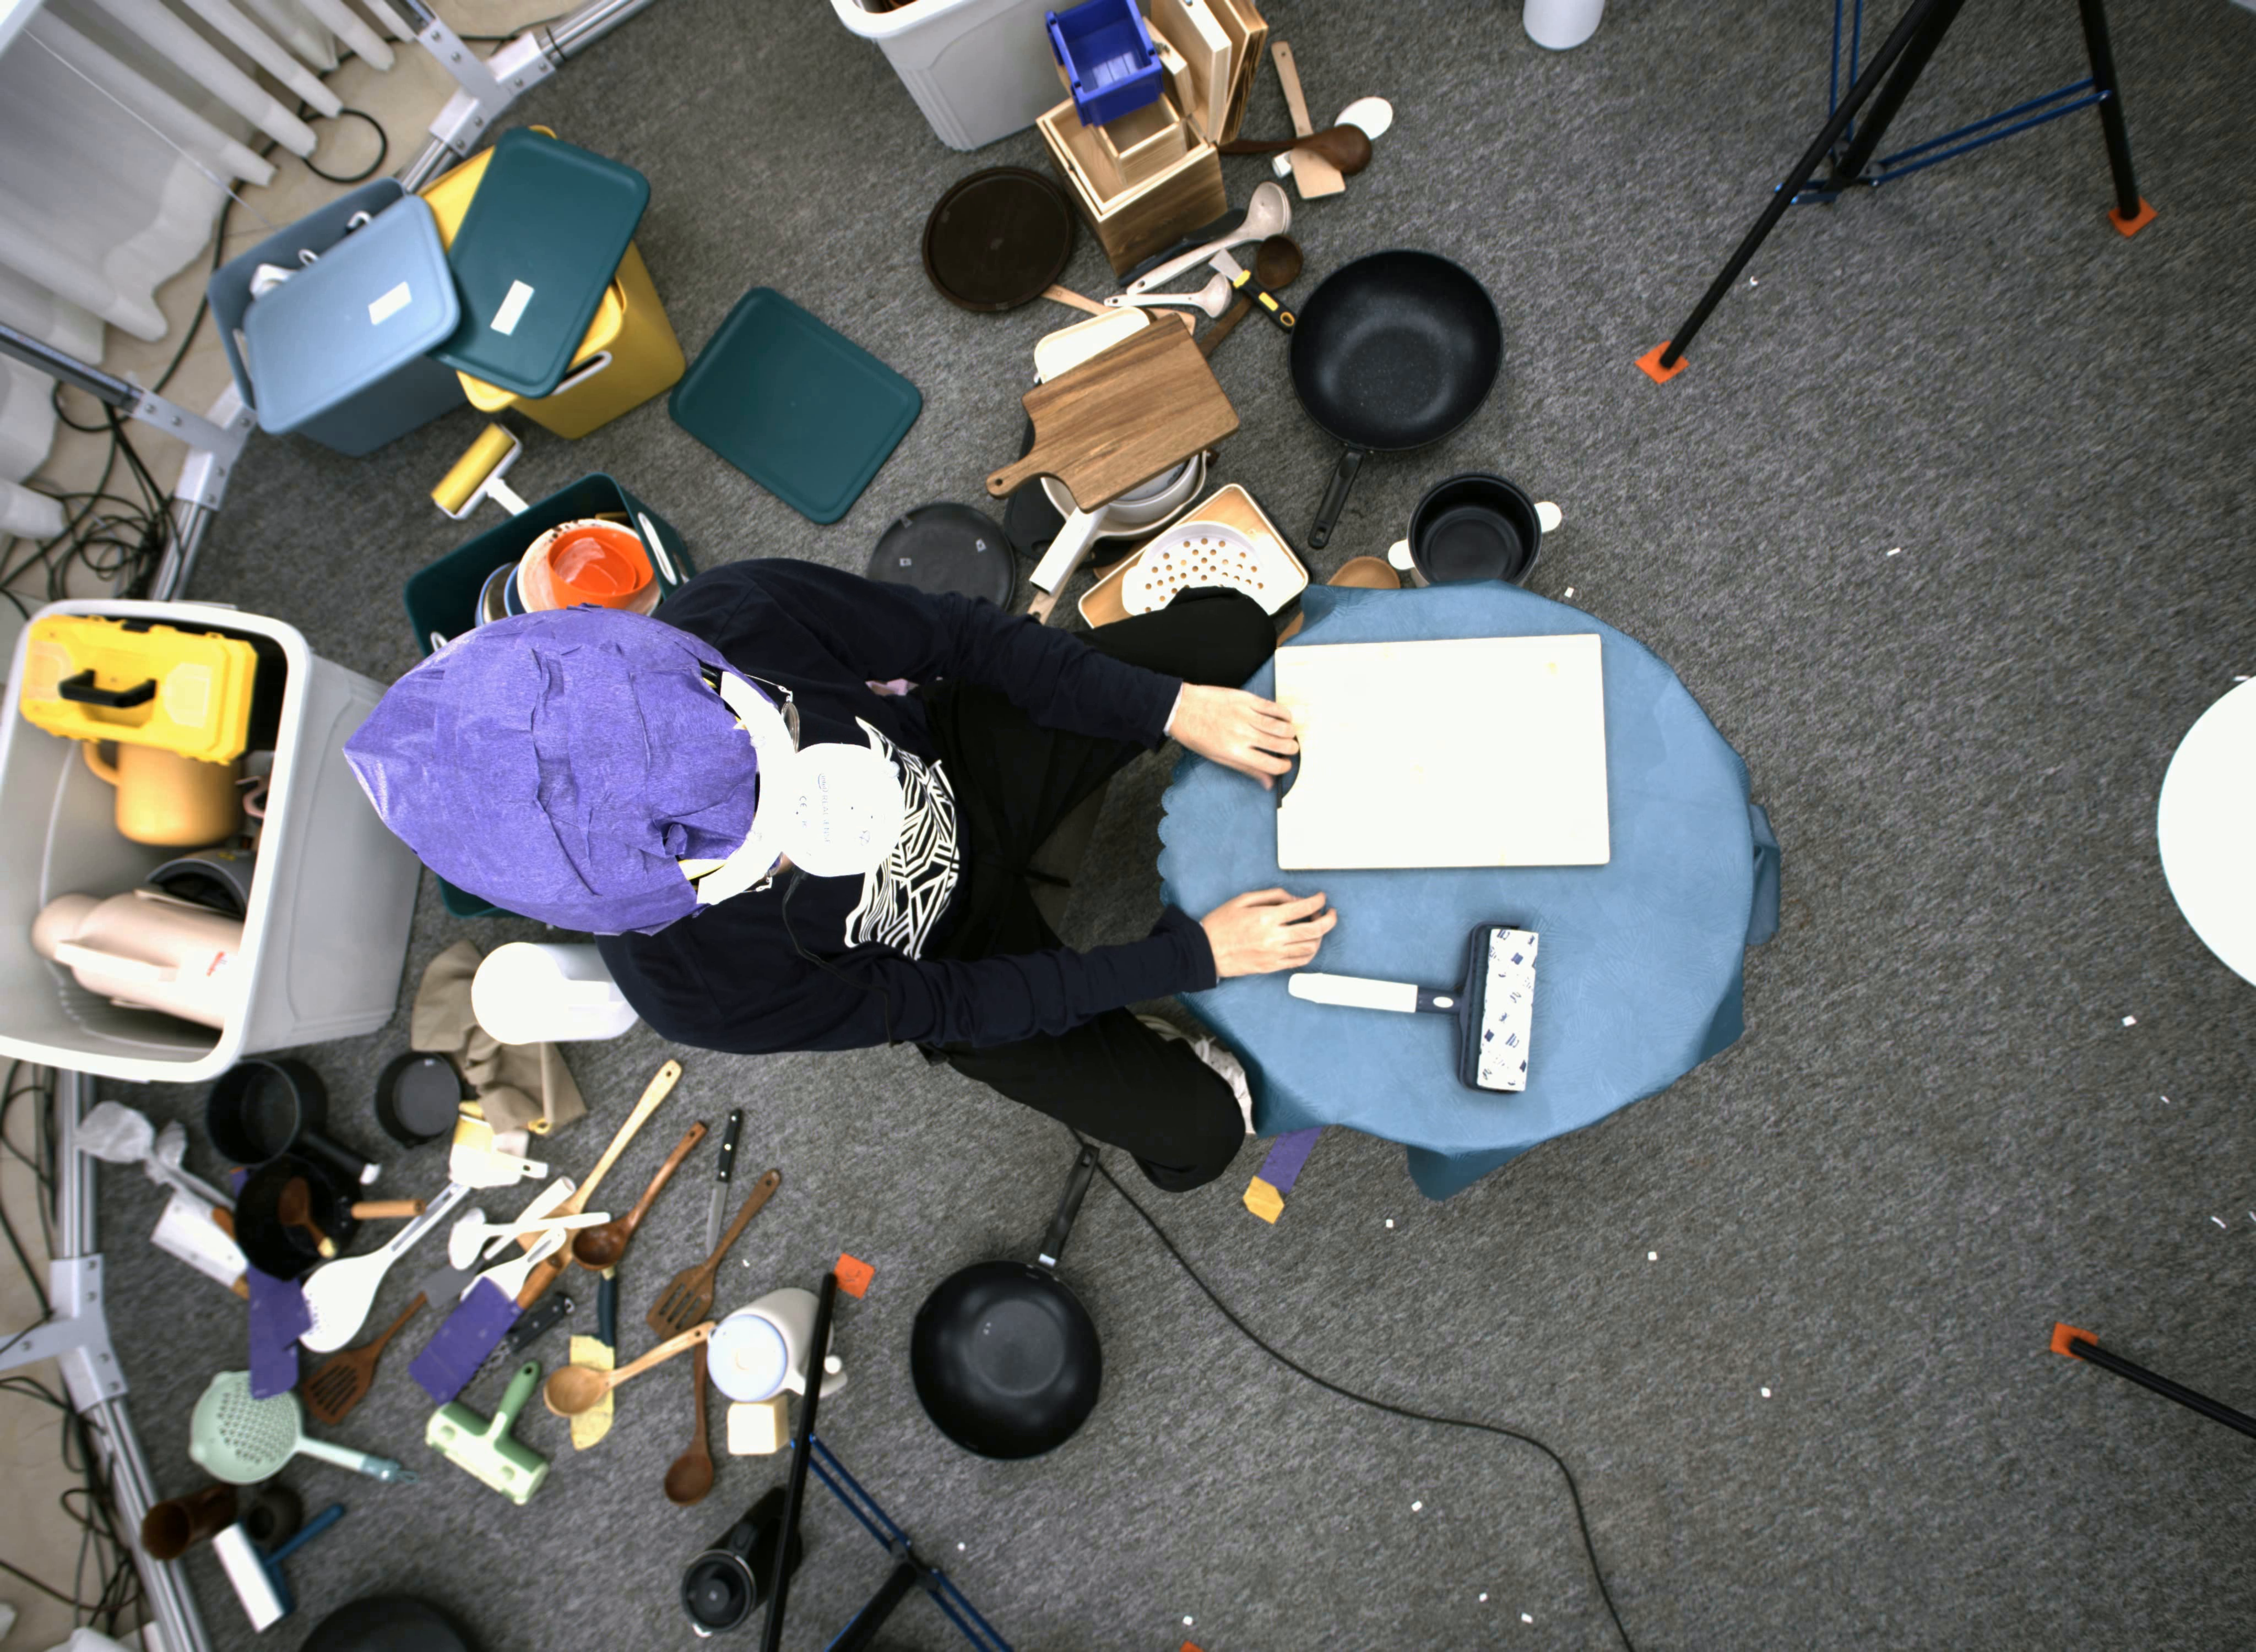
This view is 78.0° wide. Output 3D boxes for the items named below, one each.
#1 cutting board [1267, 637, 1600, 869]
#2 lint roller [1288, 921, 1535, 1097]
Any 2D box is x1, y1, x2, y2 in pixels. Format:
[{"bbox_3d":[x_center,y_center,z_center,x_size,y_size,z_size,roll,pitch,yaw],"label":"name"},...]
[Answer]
[{"bbox_3d":[0.321,-0.078,1.451,0.350,0.023,0.249,-2,86,11],"label":"cutting board"},{"bbox_3d":[0.288,0.177,1.430,0.248,0.050,0.176,4,89,13],"label":"lint roller"}]
